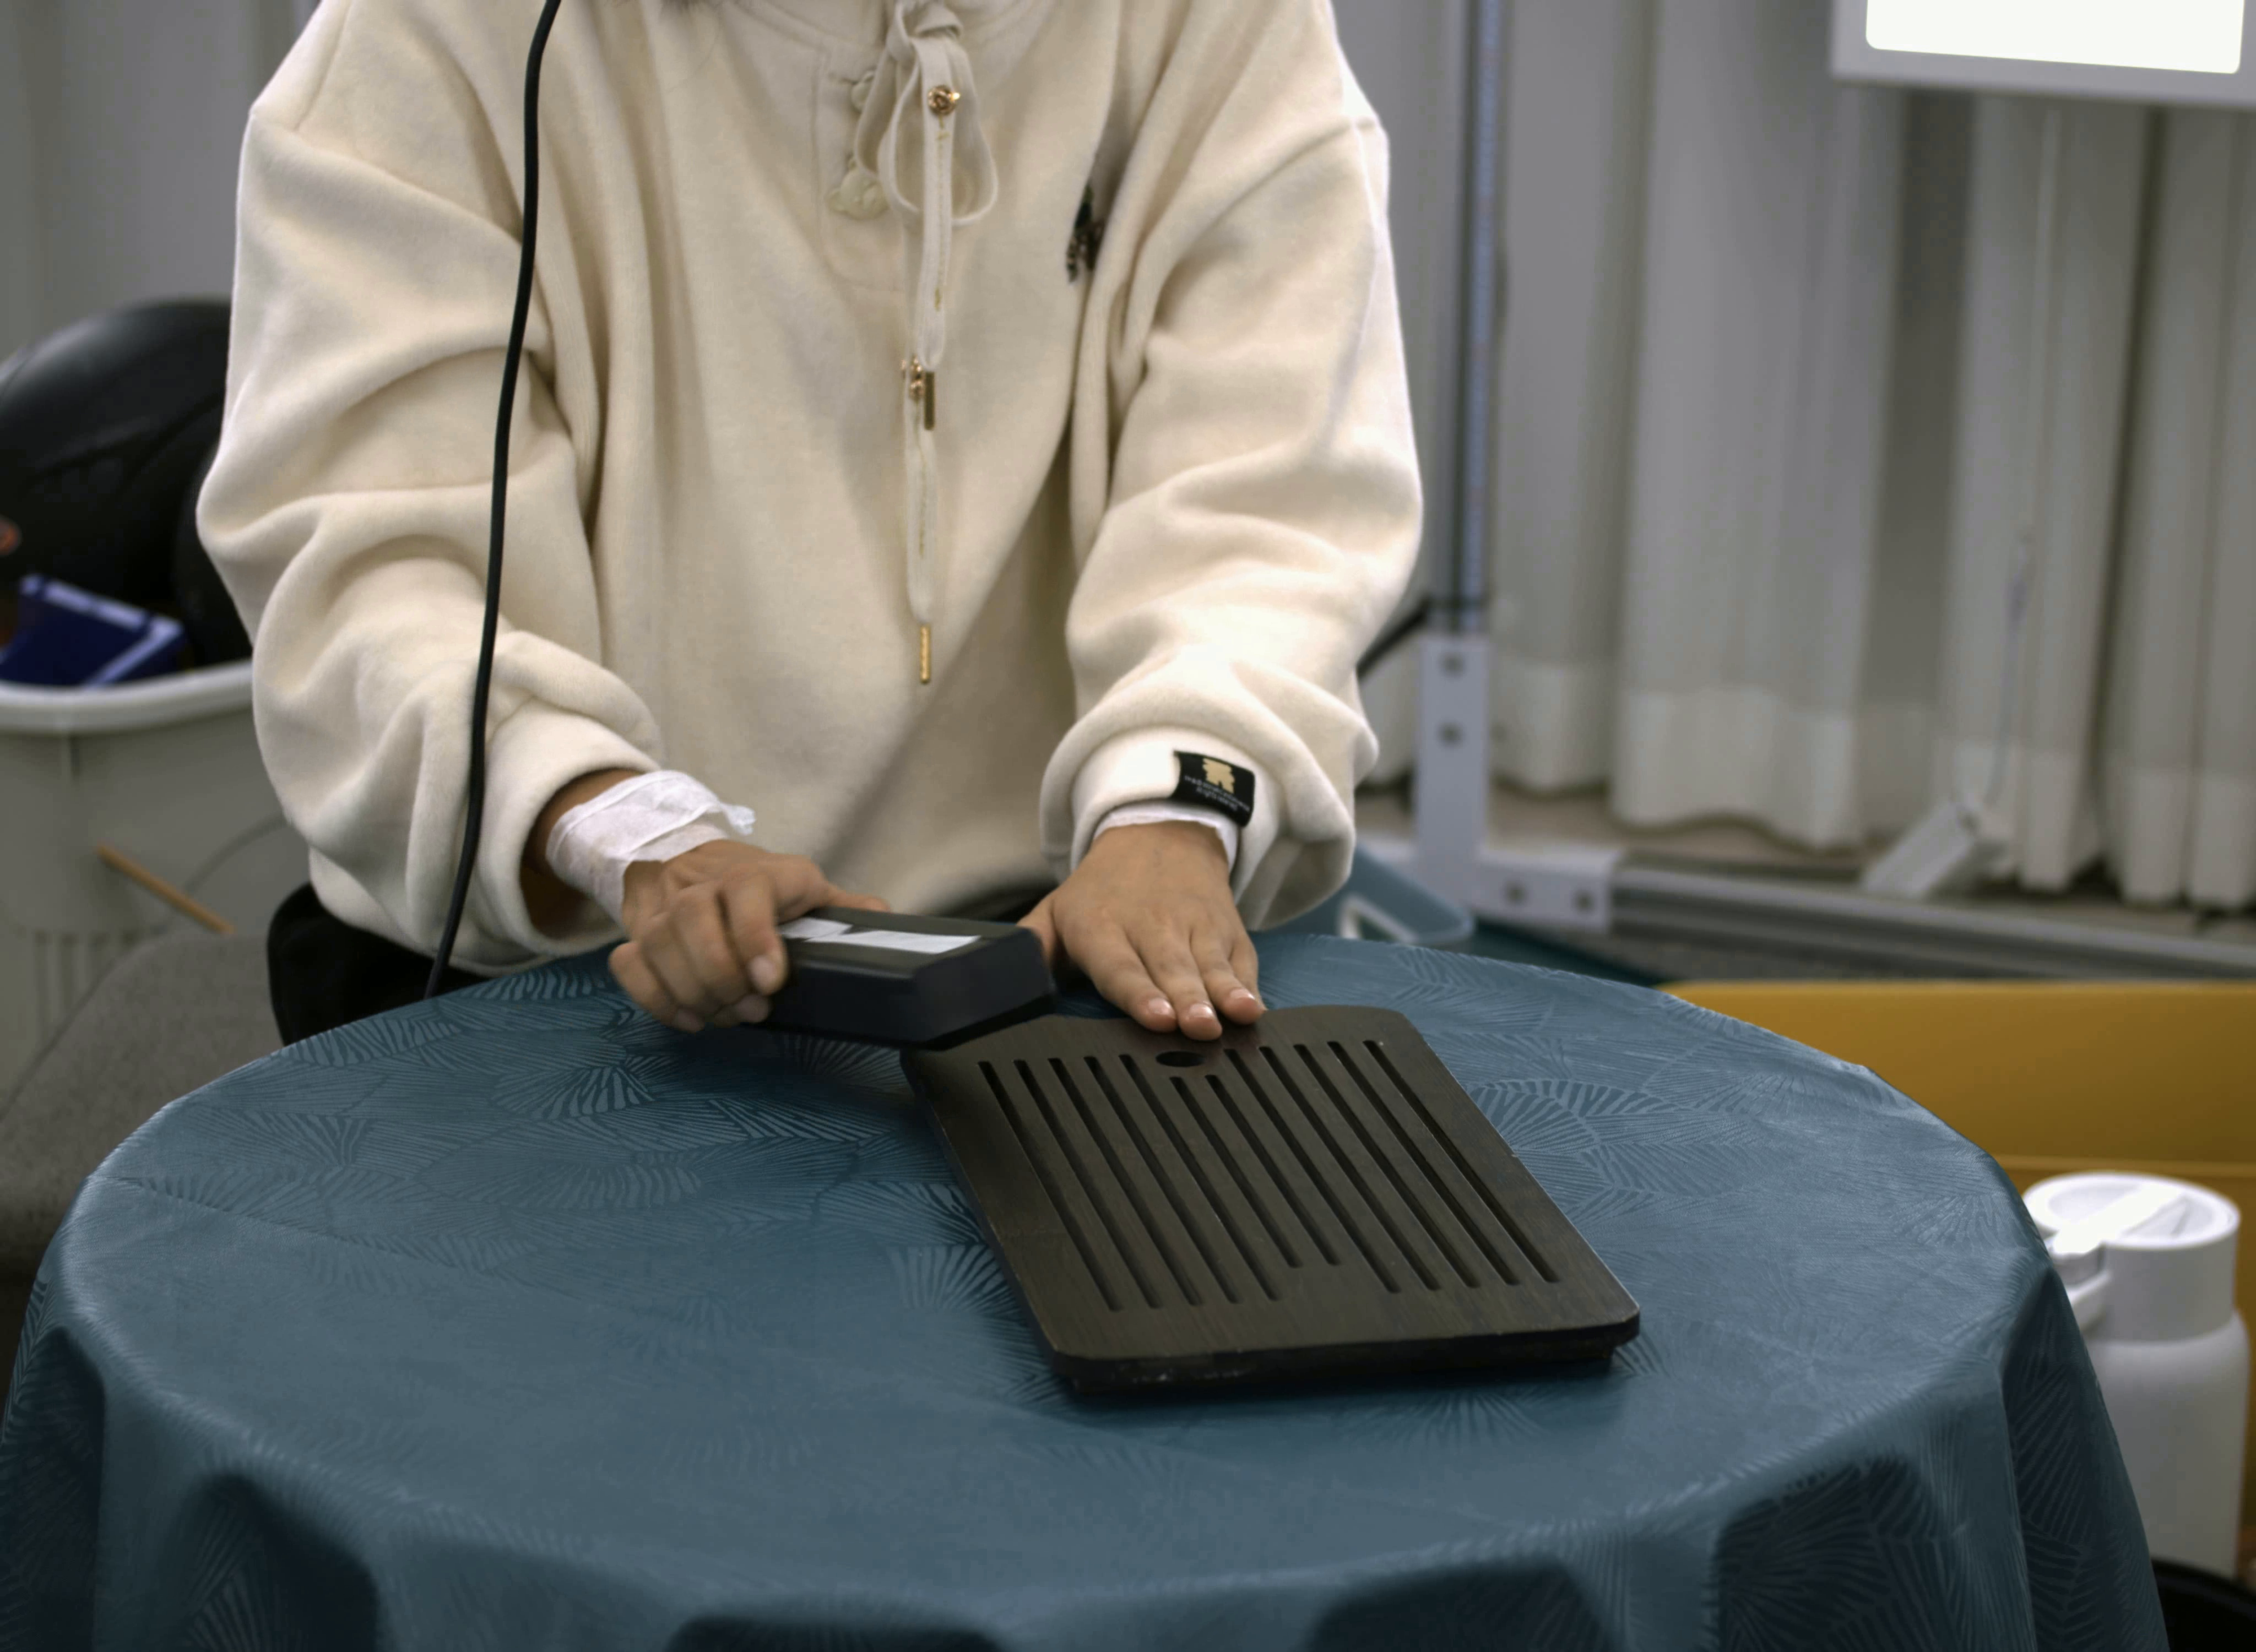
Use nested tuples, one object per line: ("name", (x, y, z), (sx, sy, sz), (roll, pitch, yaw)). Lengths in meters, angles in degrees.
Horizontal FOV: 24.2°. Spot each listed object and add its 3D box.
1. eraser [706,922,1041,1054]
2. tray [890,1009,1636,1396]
("eraser", (-0.082, 0.051, 1.696), (0.054, 0.030, 0.124), (-17, 11, -33))
("tray", (0.033, 0.111, 1.595), (0.170, 0.019, 0.303), (-2, 16, -11))
